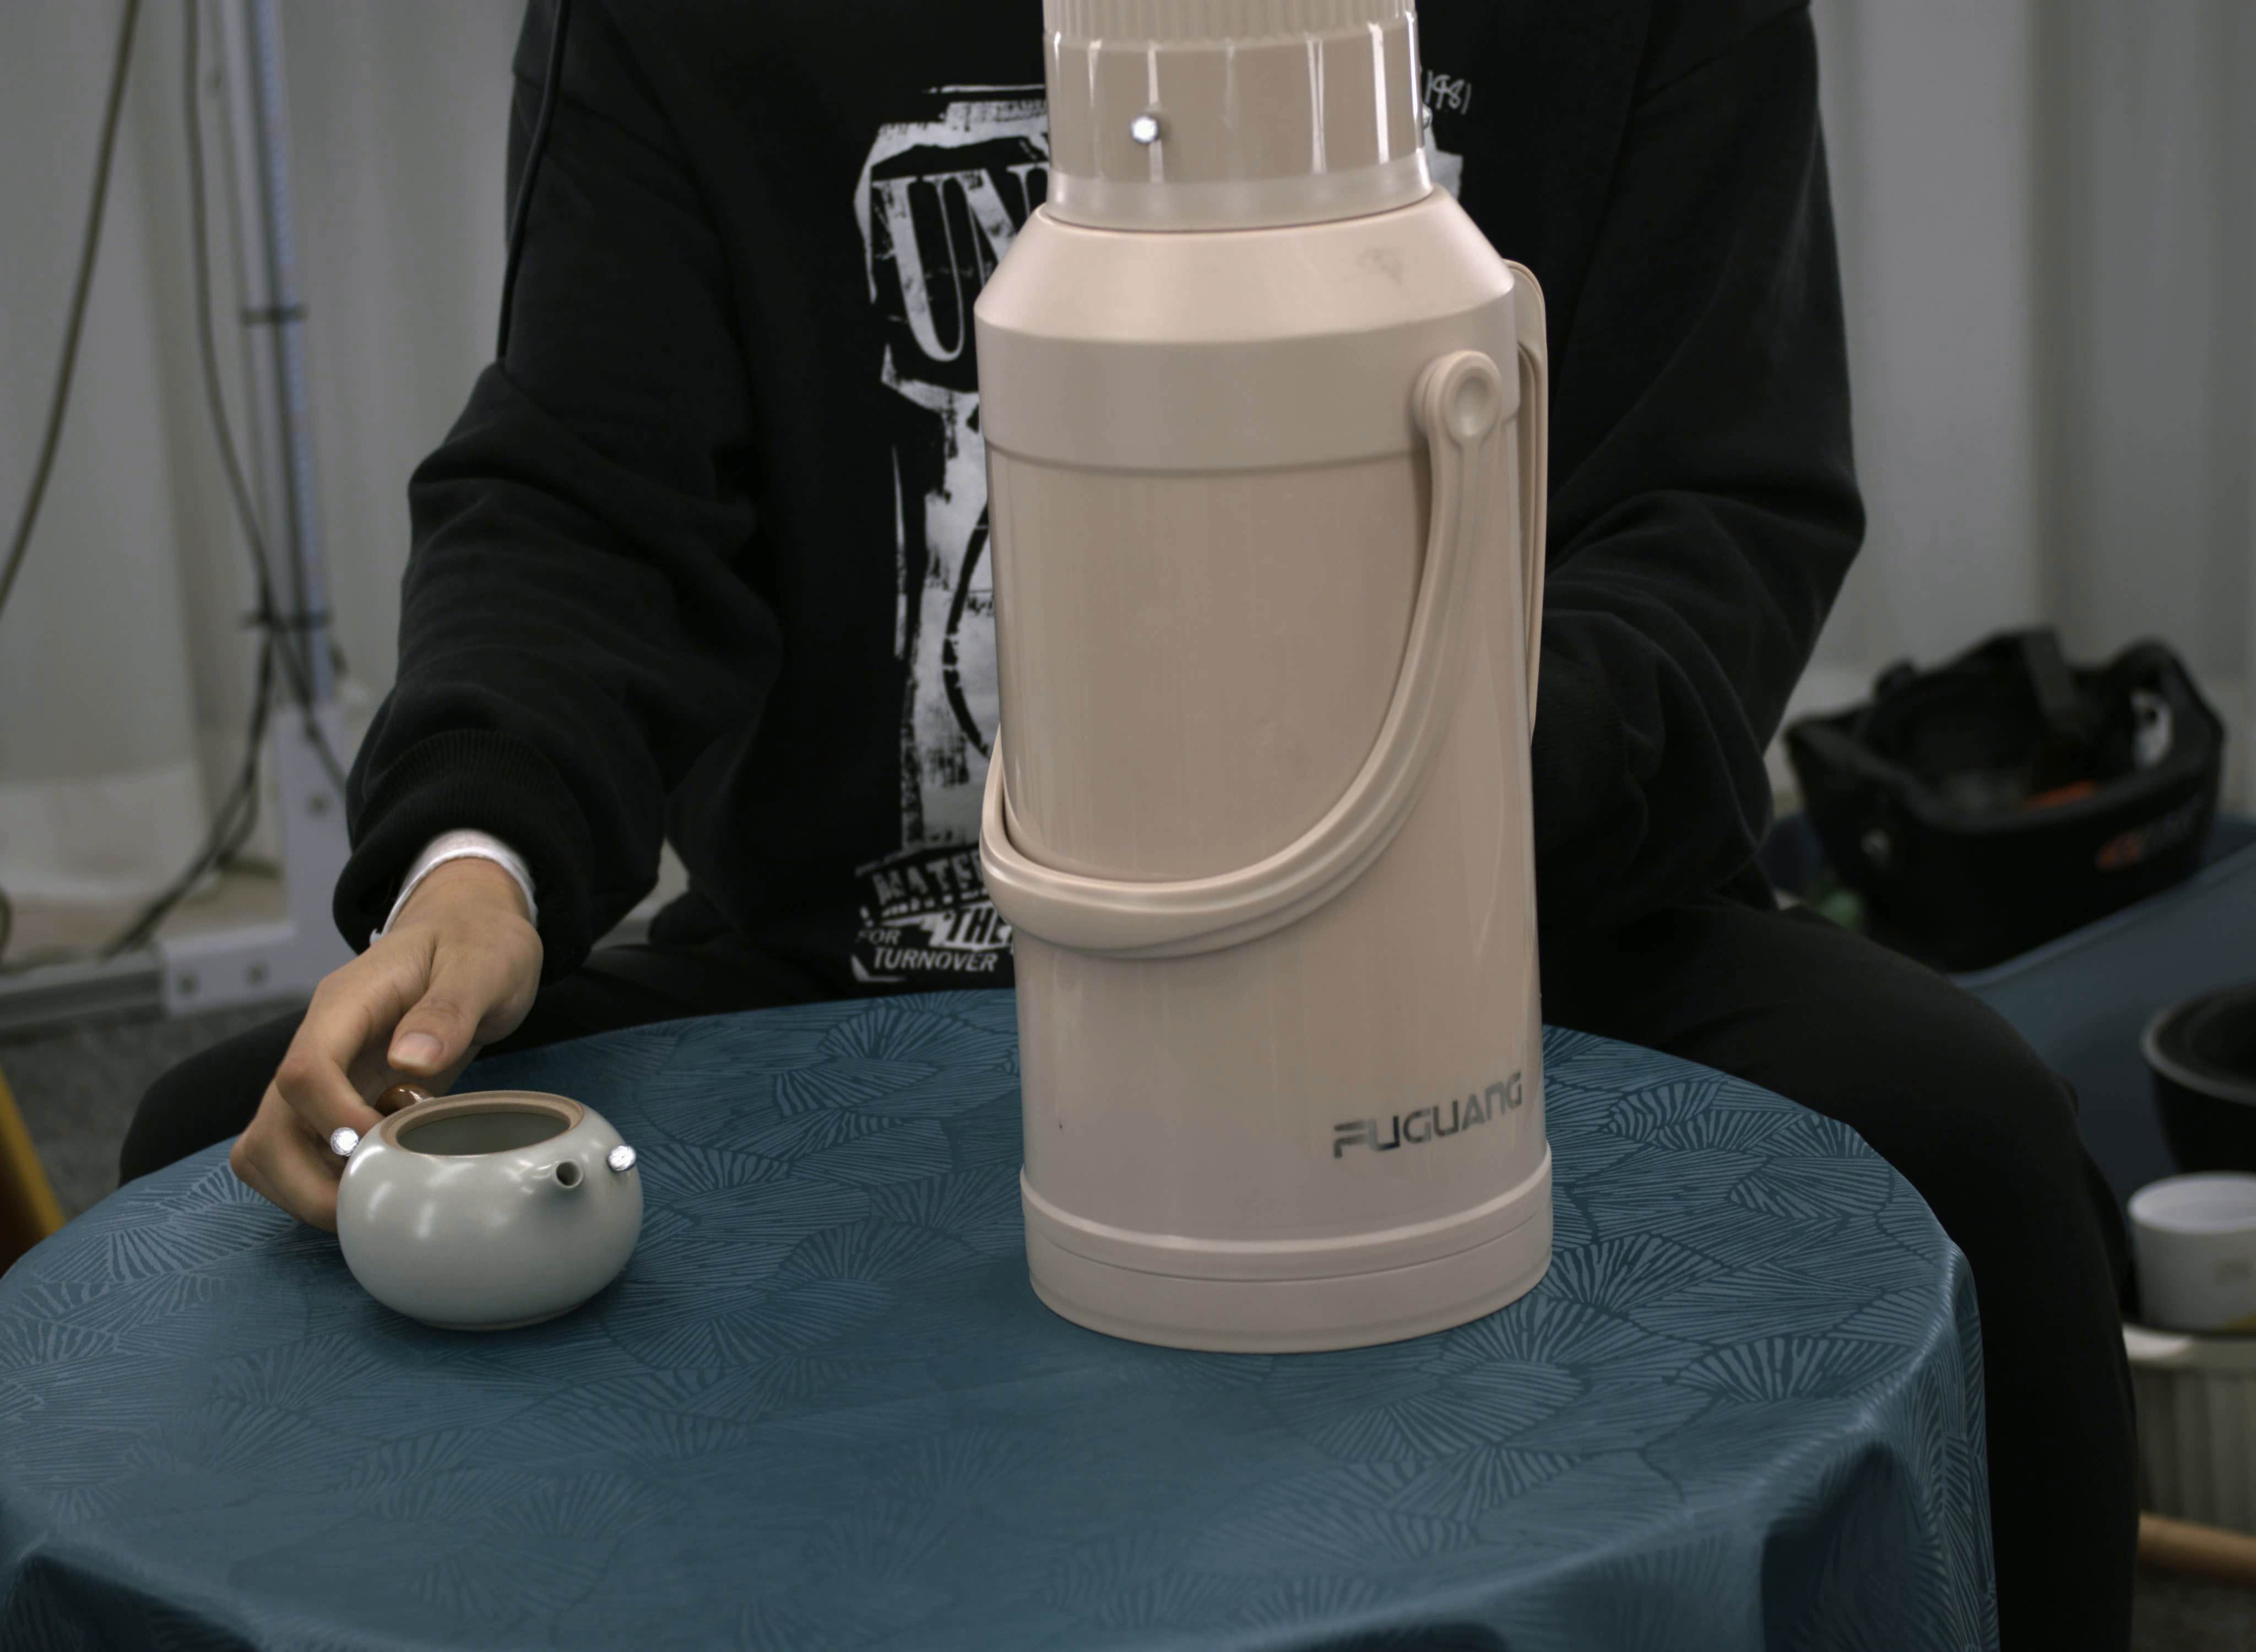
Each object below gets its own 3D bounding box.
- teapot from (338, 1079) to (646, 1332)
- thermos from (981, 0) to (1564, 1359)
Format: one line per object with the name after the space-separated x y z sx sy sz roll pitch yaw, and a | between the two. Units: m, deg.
-0.196 0.113 1.646 0.091 0.059 0.129 -16 21 -34 | teapot
0.052 -0.062 1.604 0.176 0.405 0.206 9 18 44 | thermos
